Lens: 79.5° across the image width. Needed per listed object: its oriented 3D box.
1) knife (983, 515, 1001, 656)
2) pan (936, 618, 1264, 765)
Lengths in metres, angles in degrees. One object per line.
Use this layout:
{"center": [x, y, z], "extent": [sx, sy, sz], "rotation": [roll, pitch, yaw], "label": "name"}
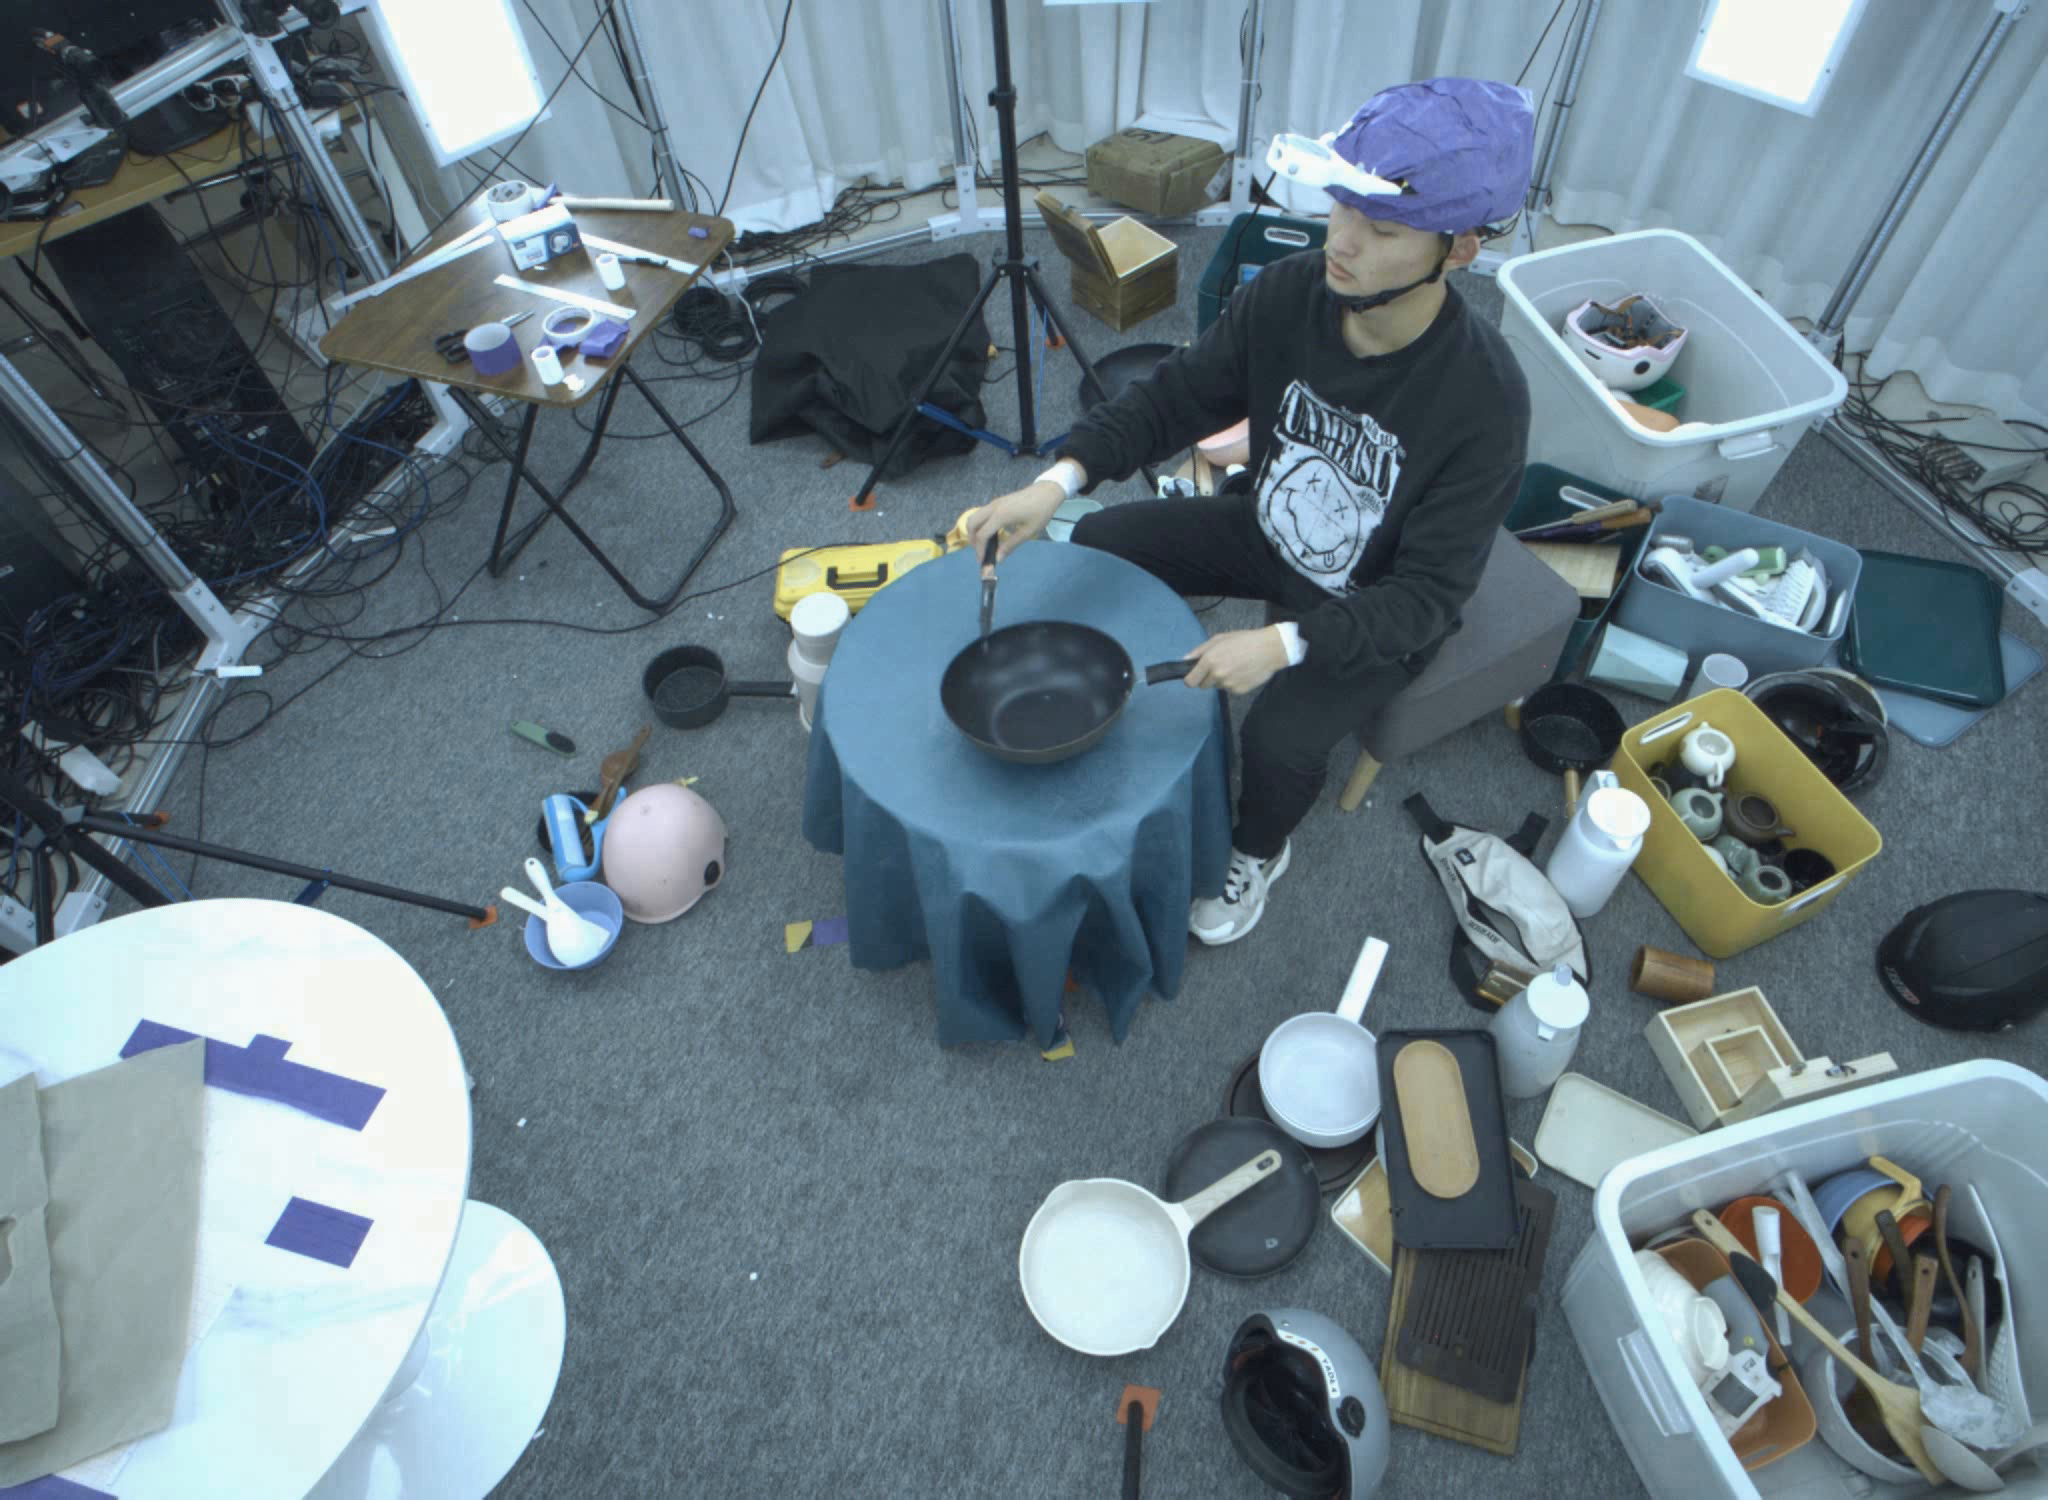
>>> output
{"center": [-0.048, -0.245, 1.809], "extent": [0.026, 0.017, 0.224], "rotation": [2, 75, -3], "label": "knife"}
{"center": [0.109, -0.079, 1.767], "extent": [0.463, 0.088, 0.284], "rotation": [-5, 45, 2], "label": "pan"}
